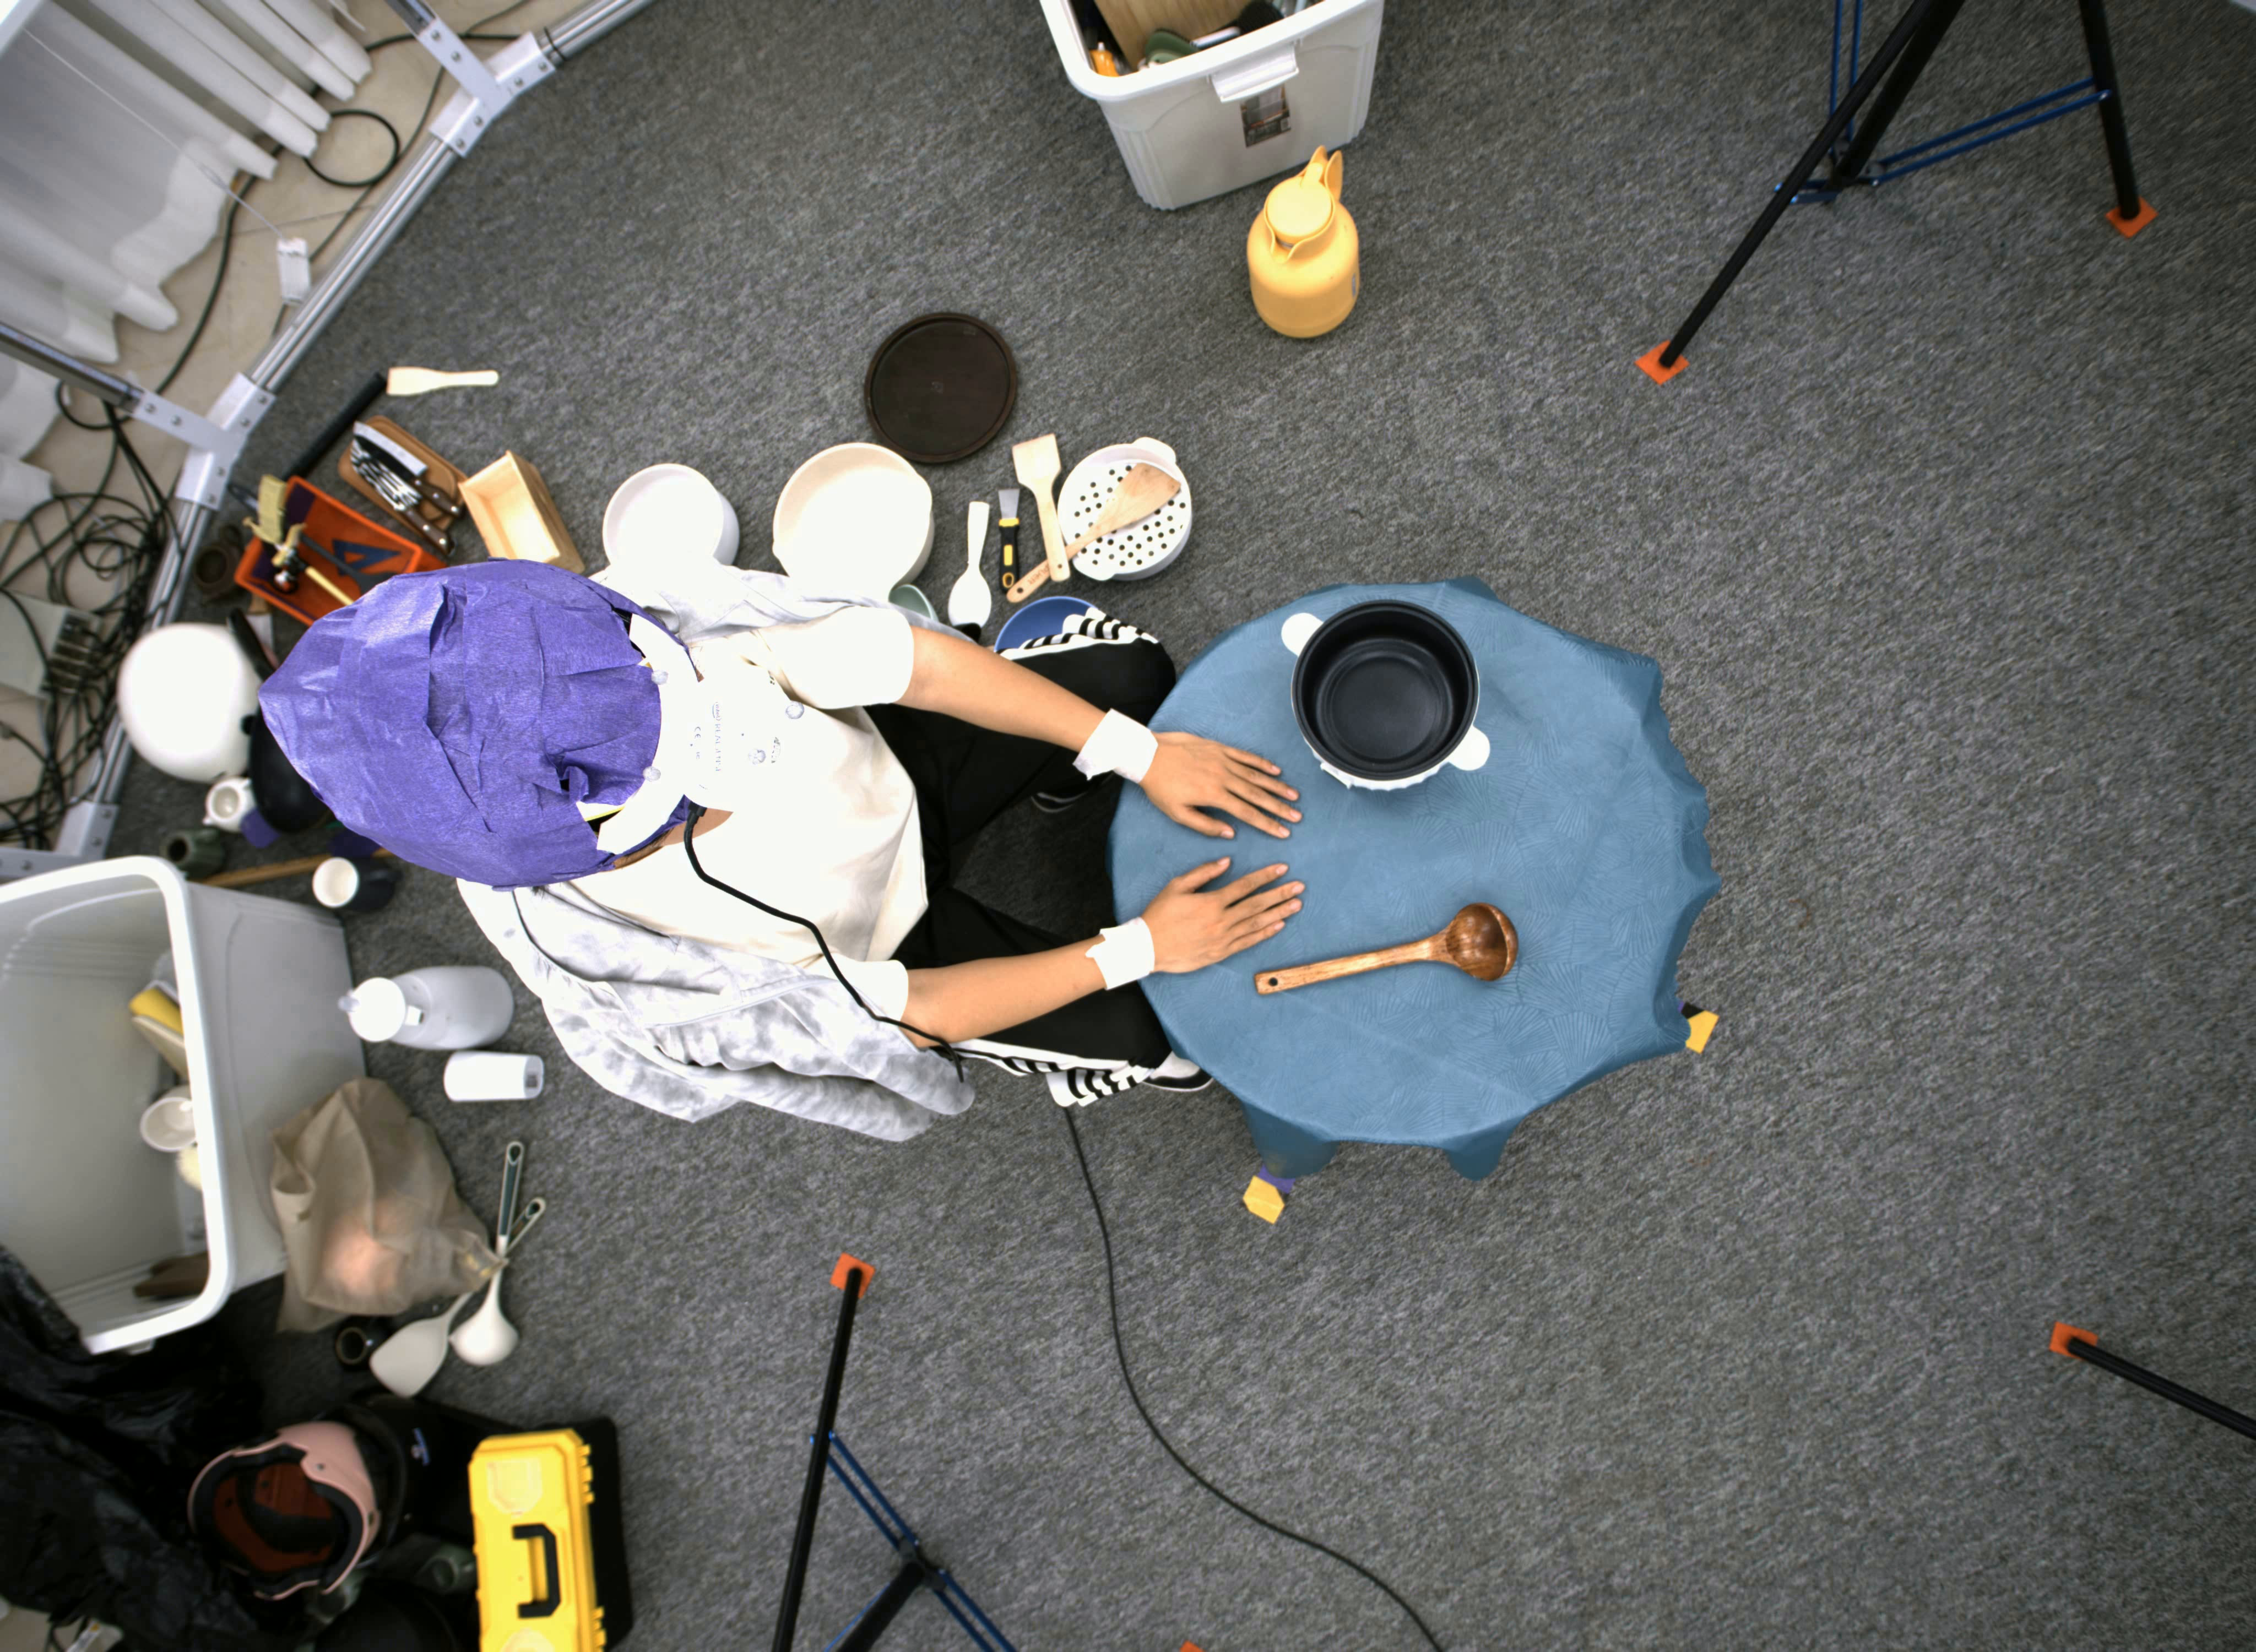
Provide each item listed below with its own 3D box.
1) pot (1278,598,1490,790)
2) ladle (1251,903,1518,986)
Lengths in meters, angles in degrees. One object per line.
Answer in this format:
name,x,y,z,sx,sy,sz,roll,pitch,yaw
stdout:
pot,0.262,-0.134,1.400,0.239,0.142,0.191,36,96,10
ladle,0.260,0.136,1.417,0.275,0.076,0.081,-11,85,10
